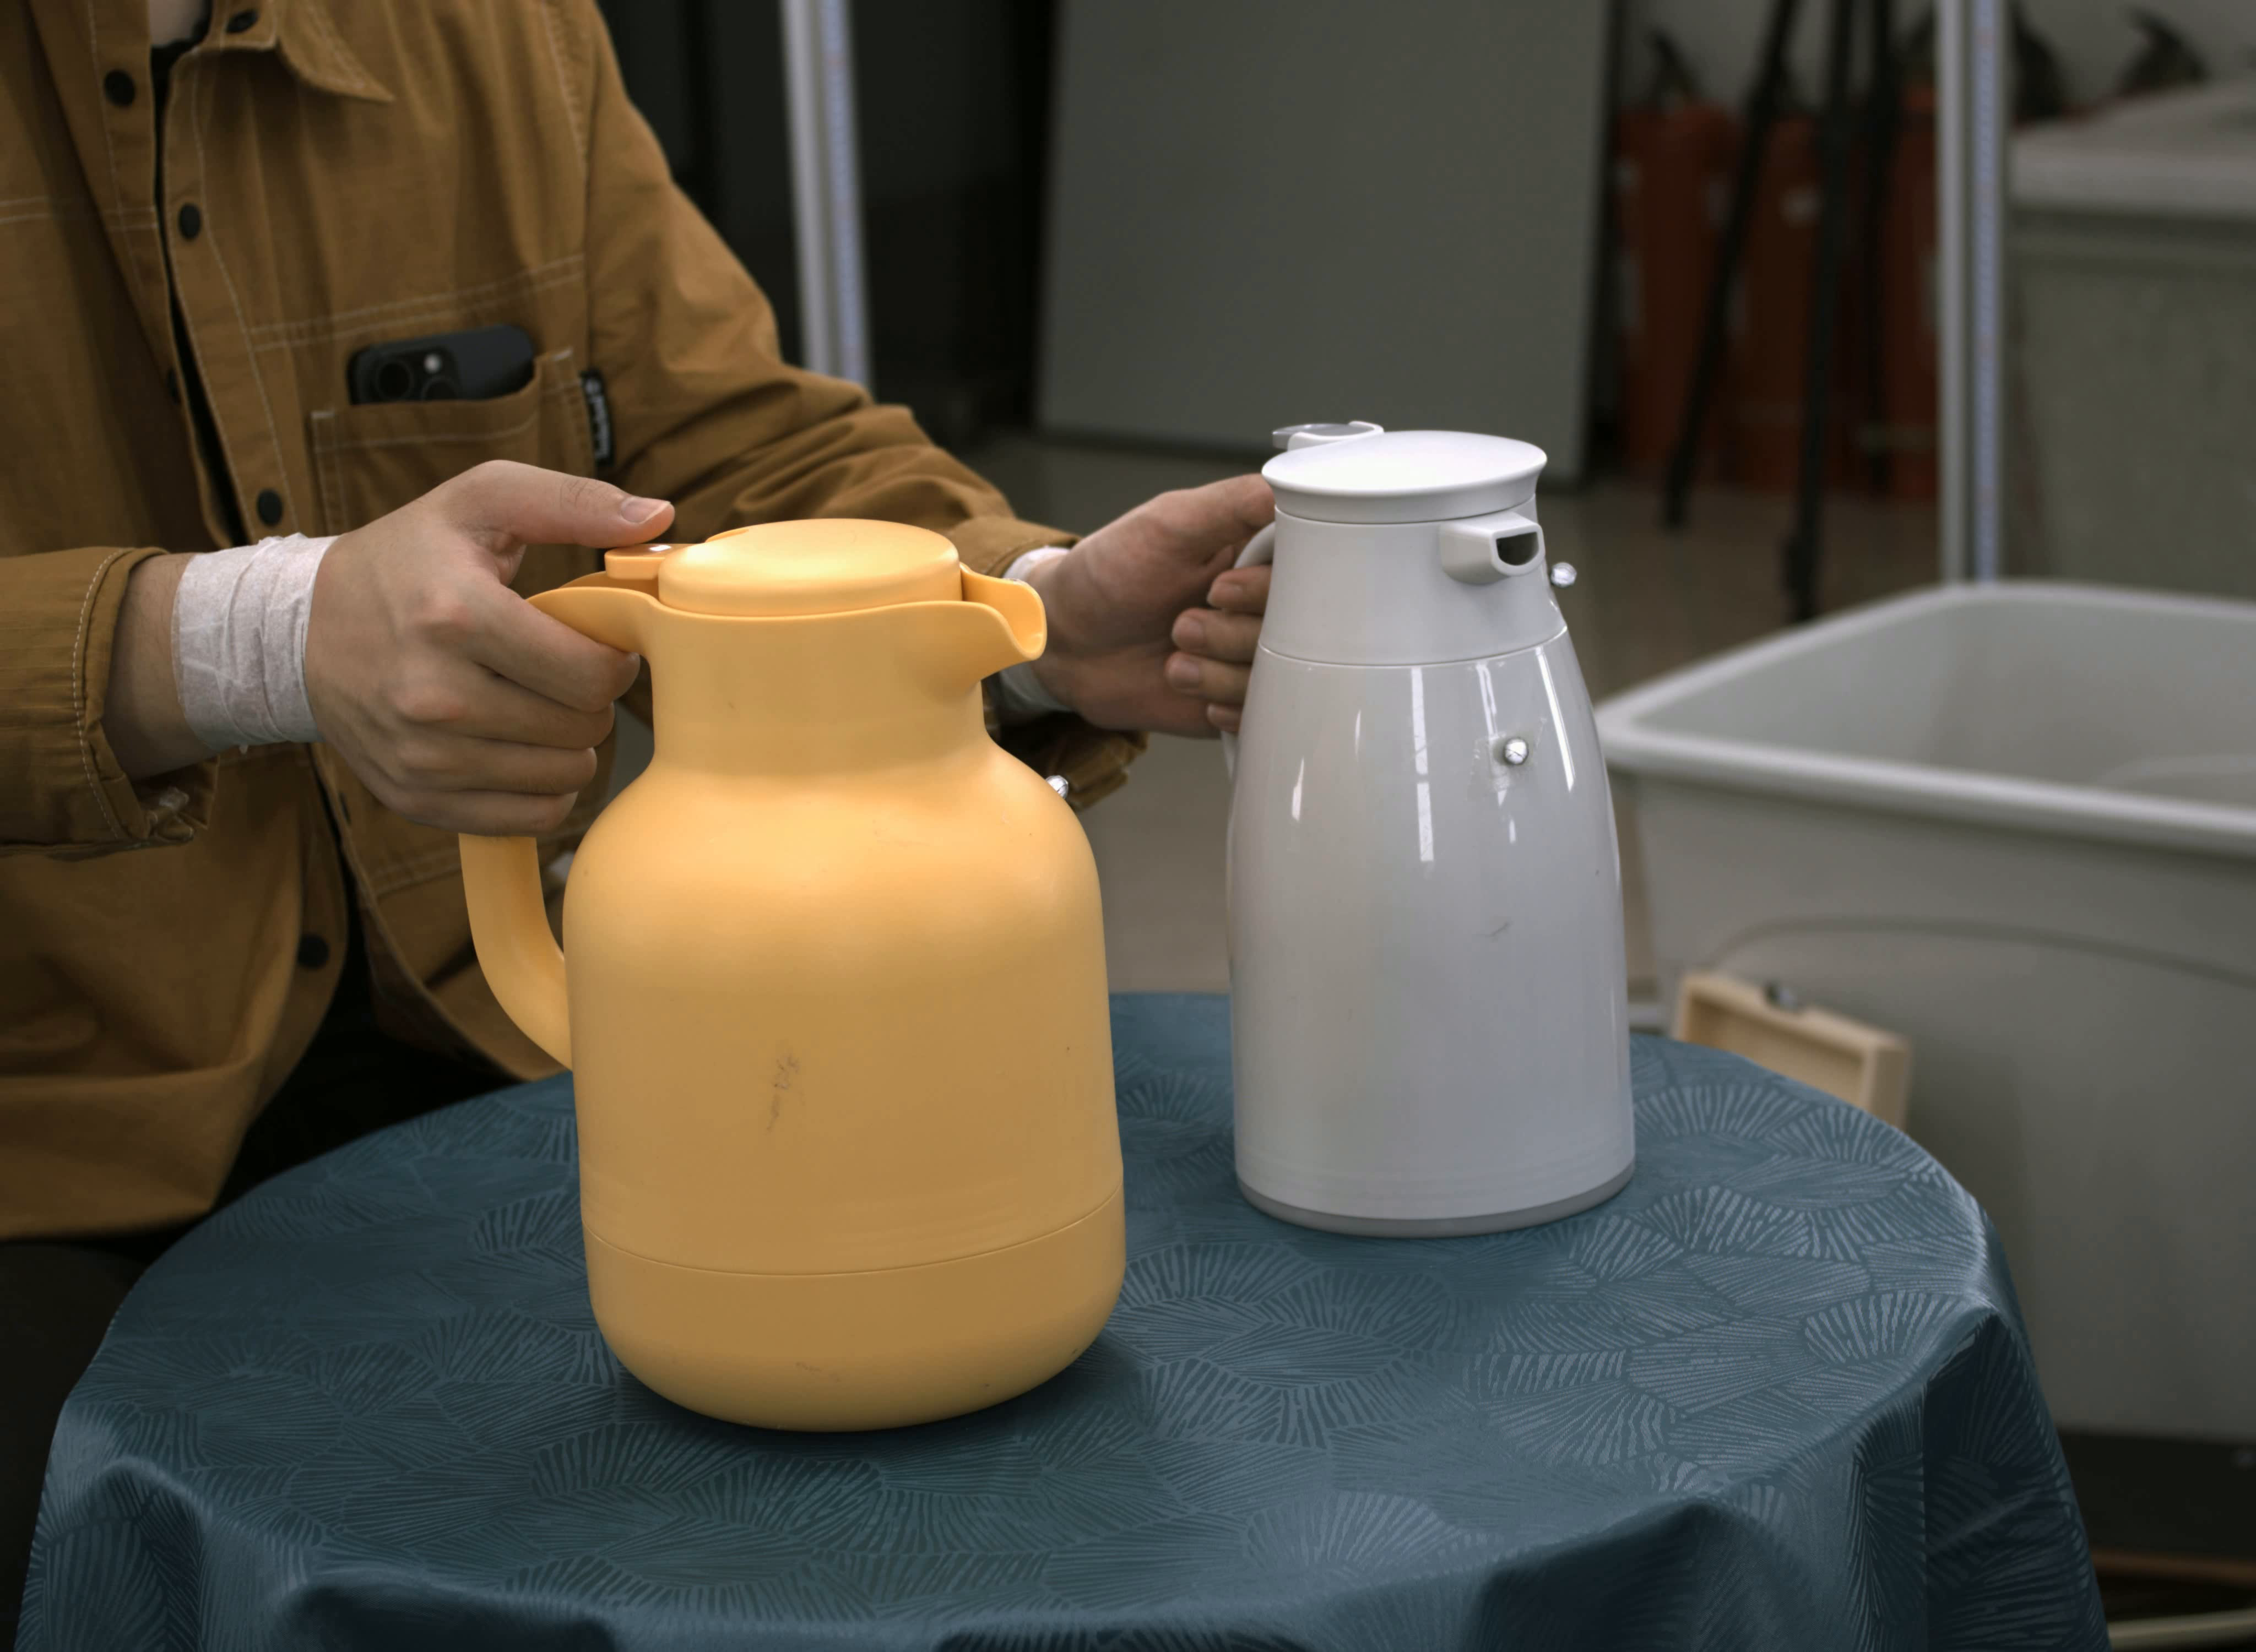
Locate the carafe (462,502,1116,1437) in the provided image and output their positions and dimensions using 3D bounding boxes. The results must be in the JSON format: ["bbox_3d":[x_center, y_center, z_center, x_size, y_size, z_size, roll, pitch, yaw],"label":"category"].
[{"bbox_3d":[-0.103,0.036,1.604,0.203,0.263,0.161,5,14,28],"label":"carafe"}]

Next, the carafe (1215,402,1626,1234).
[{"bbox_3d":[0.082,-0.010,1.756,0.129,0.251,0.169,-11,15,-30],"label":"carafe"}]
